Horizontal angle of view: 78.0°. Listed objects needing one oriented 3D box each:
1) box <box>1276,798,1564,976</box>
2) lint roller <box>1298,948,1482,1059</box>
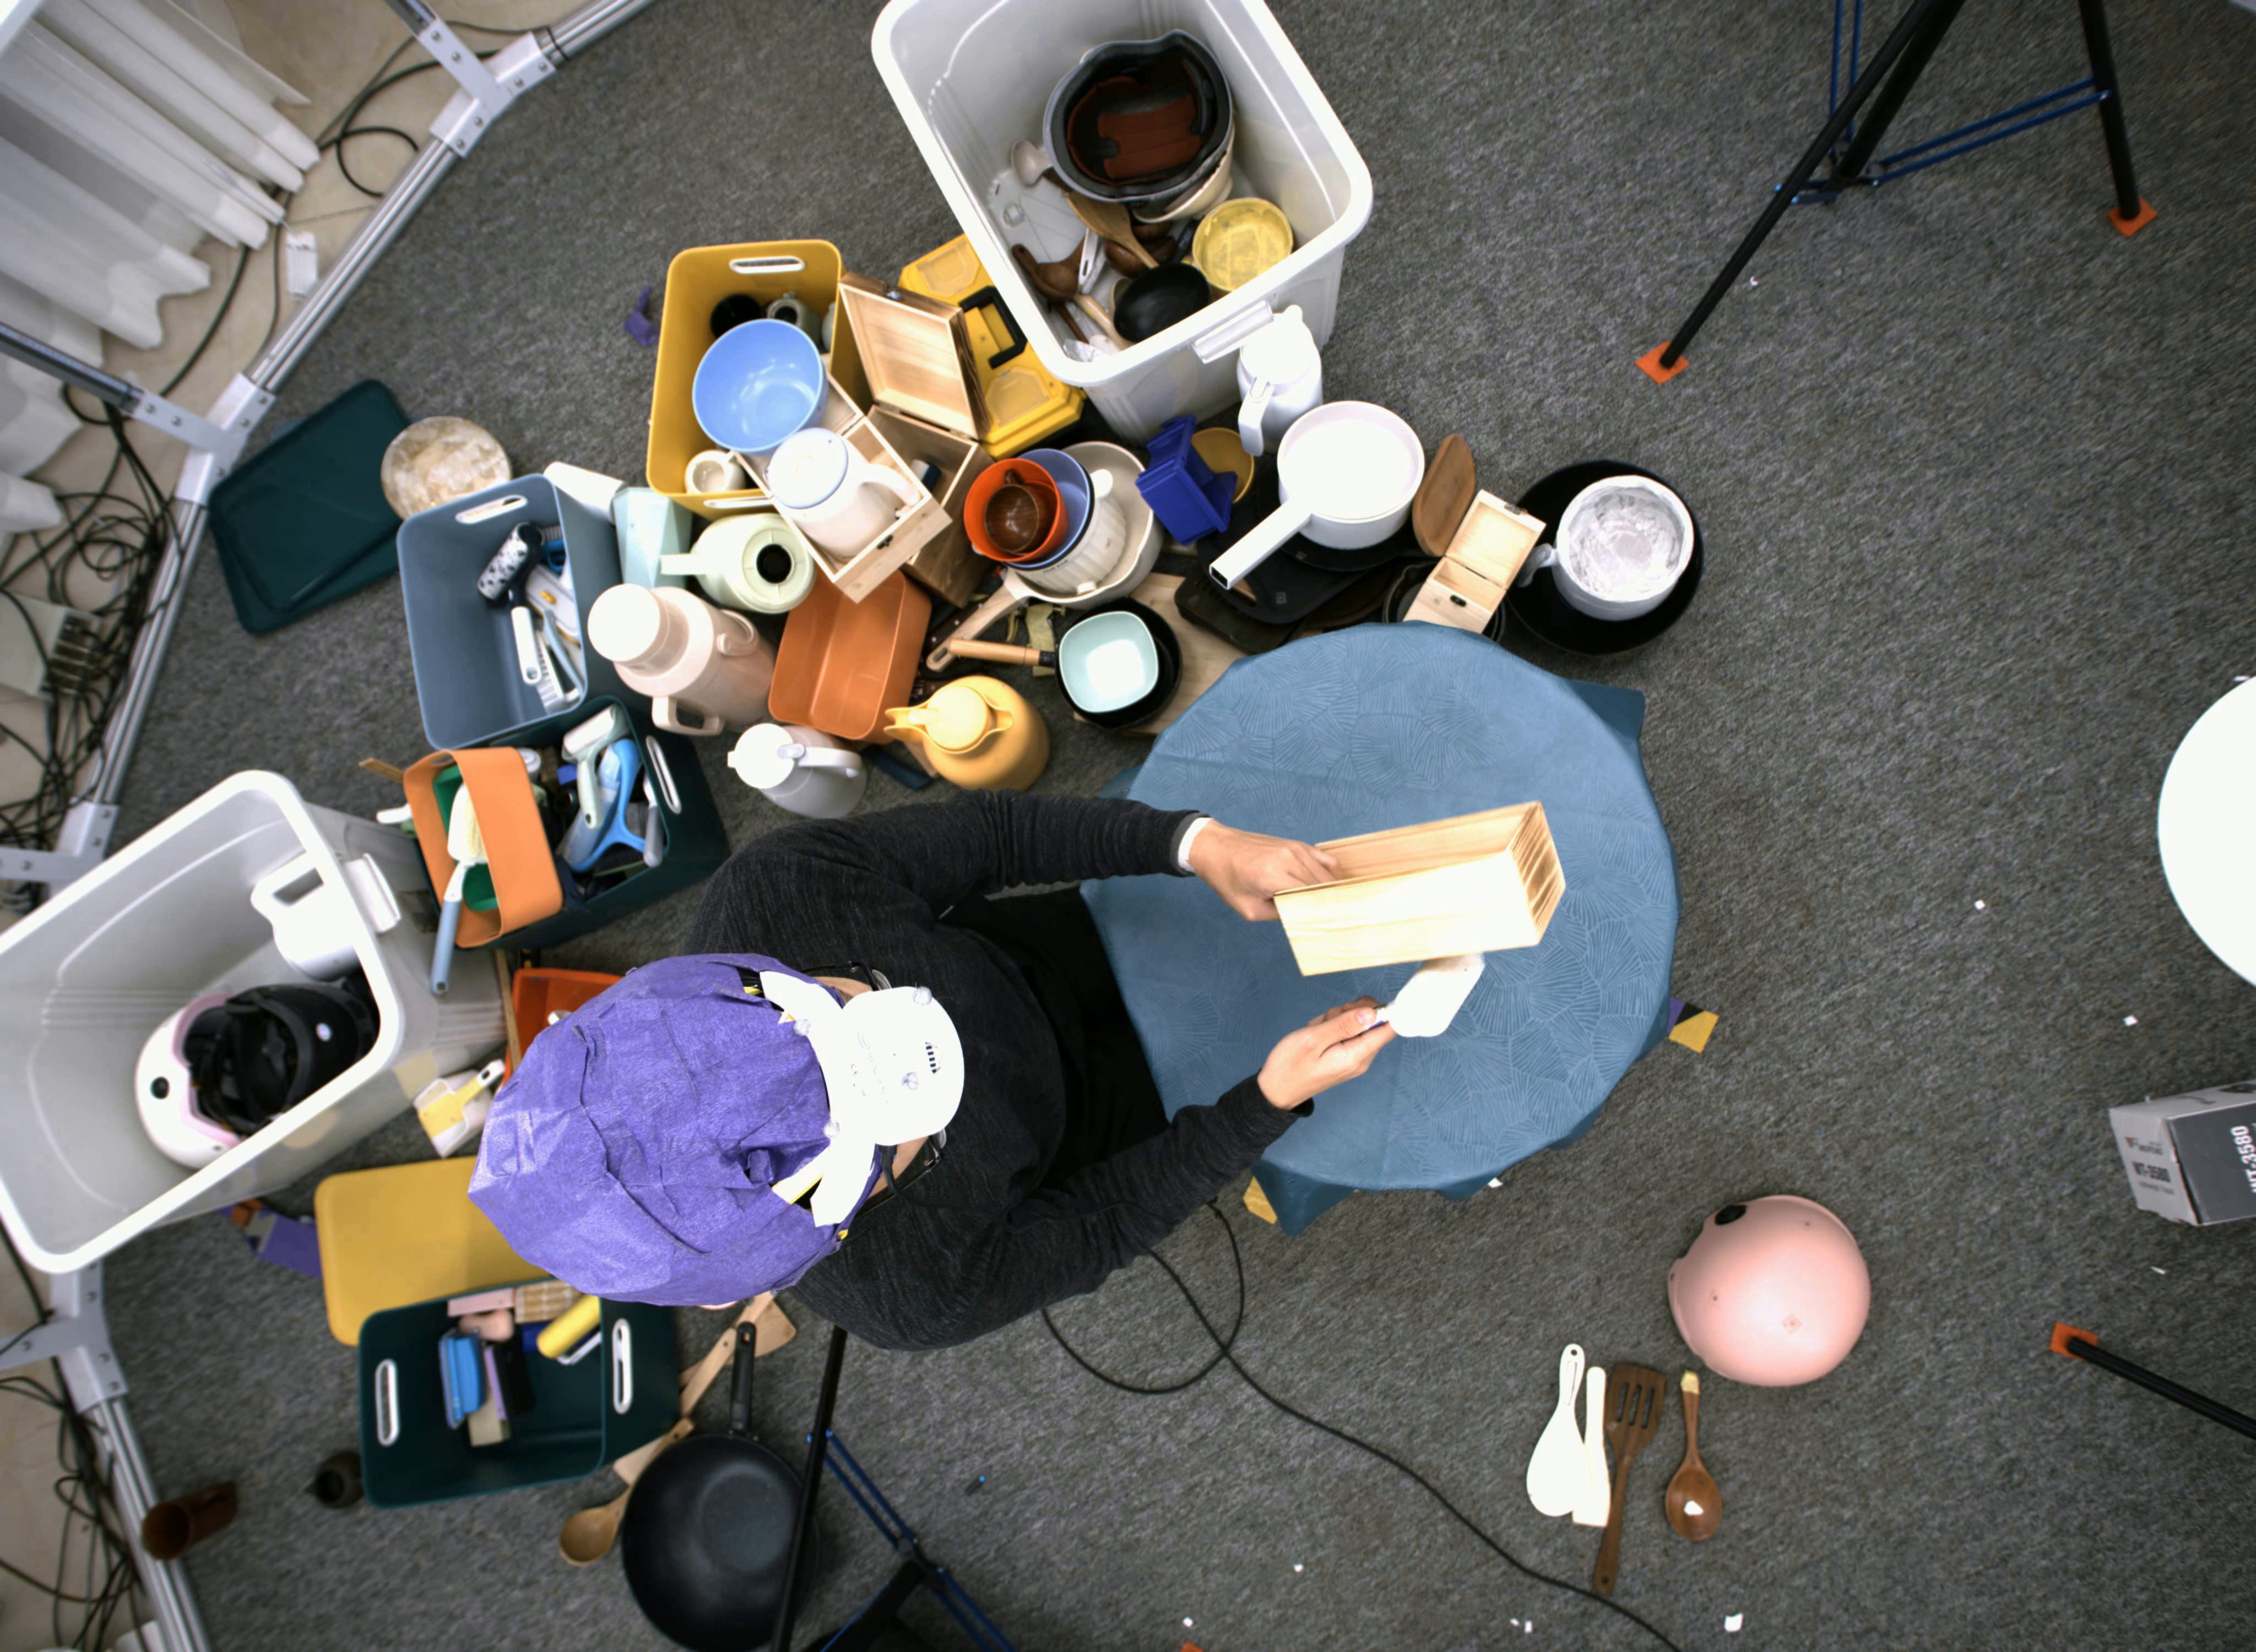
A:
[{"bbox_3d":[0.248,0.052,1.170,0.214,0.105,0.081,-14,109,34],"label":"box"},{"bbox_3d":[0.225,0.173,1.215,0.050,0.130,0.184,50,123,3],"label":"lint roller"}]
